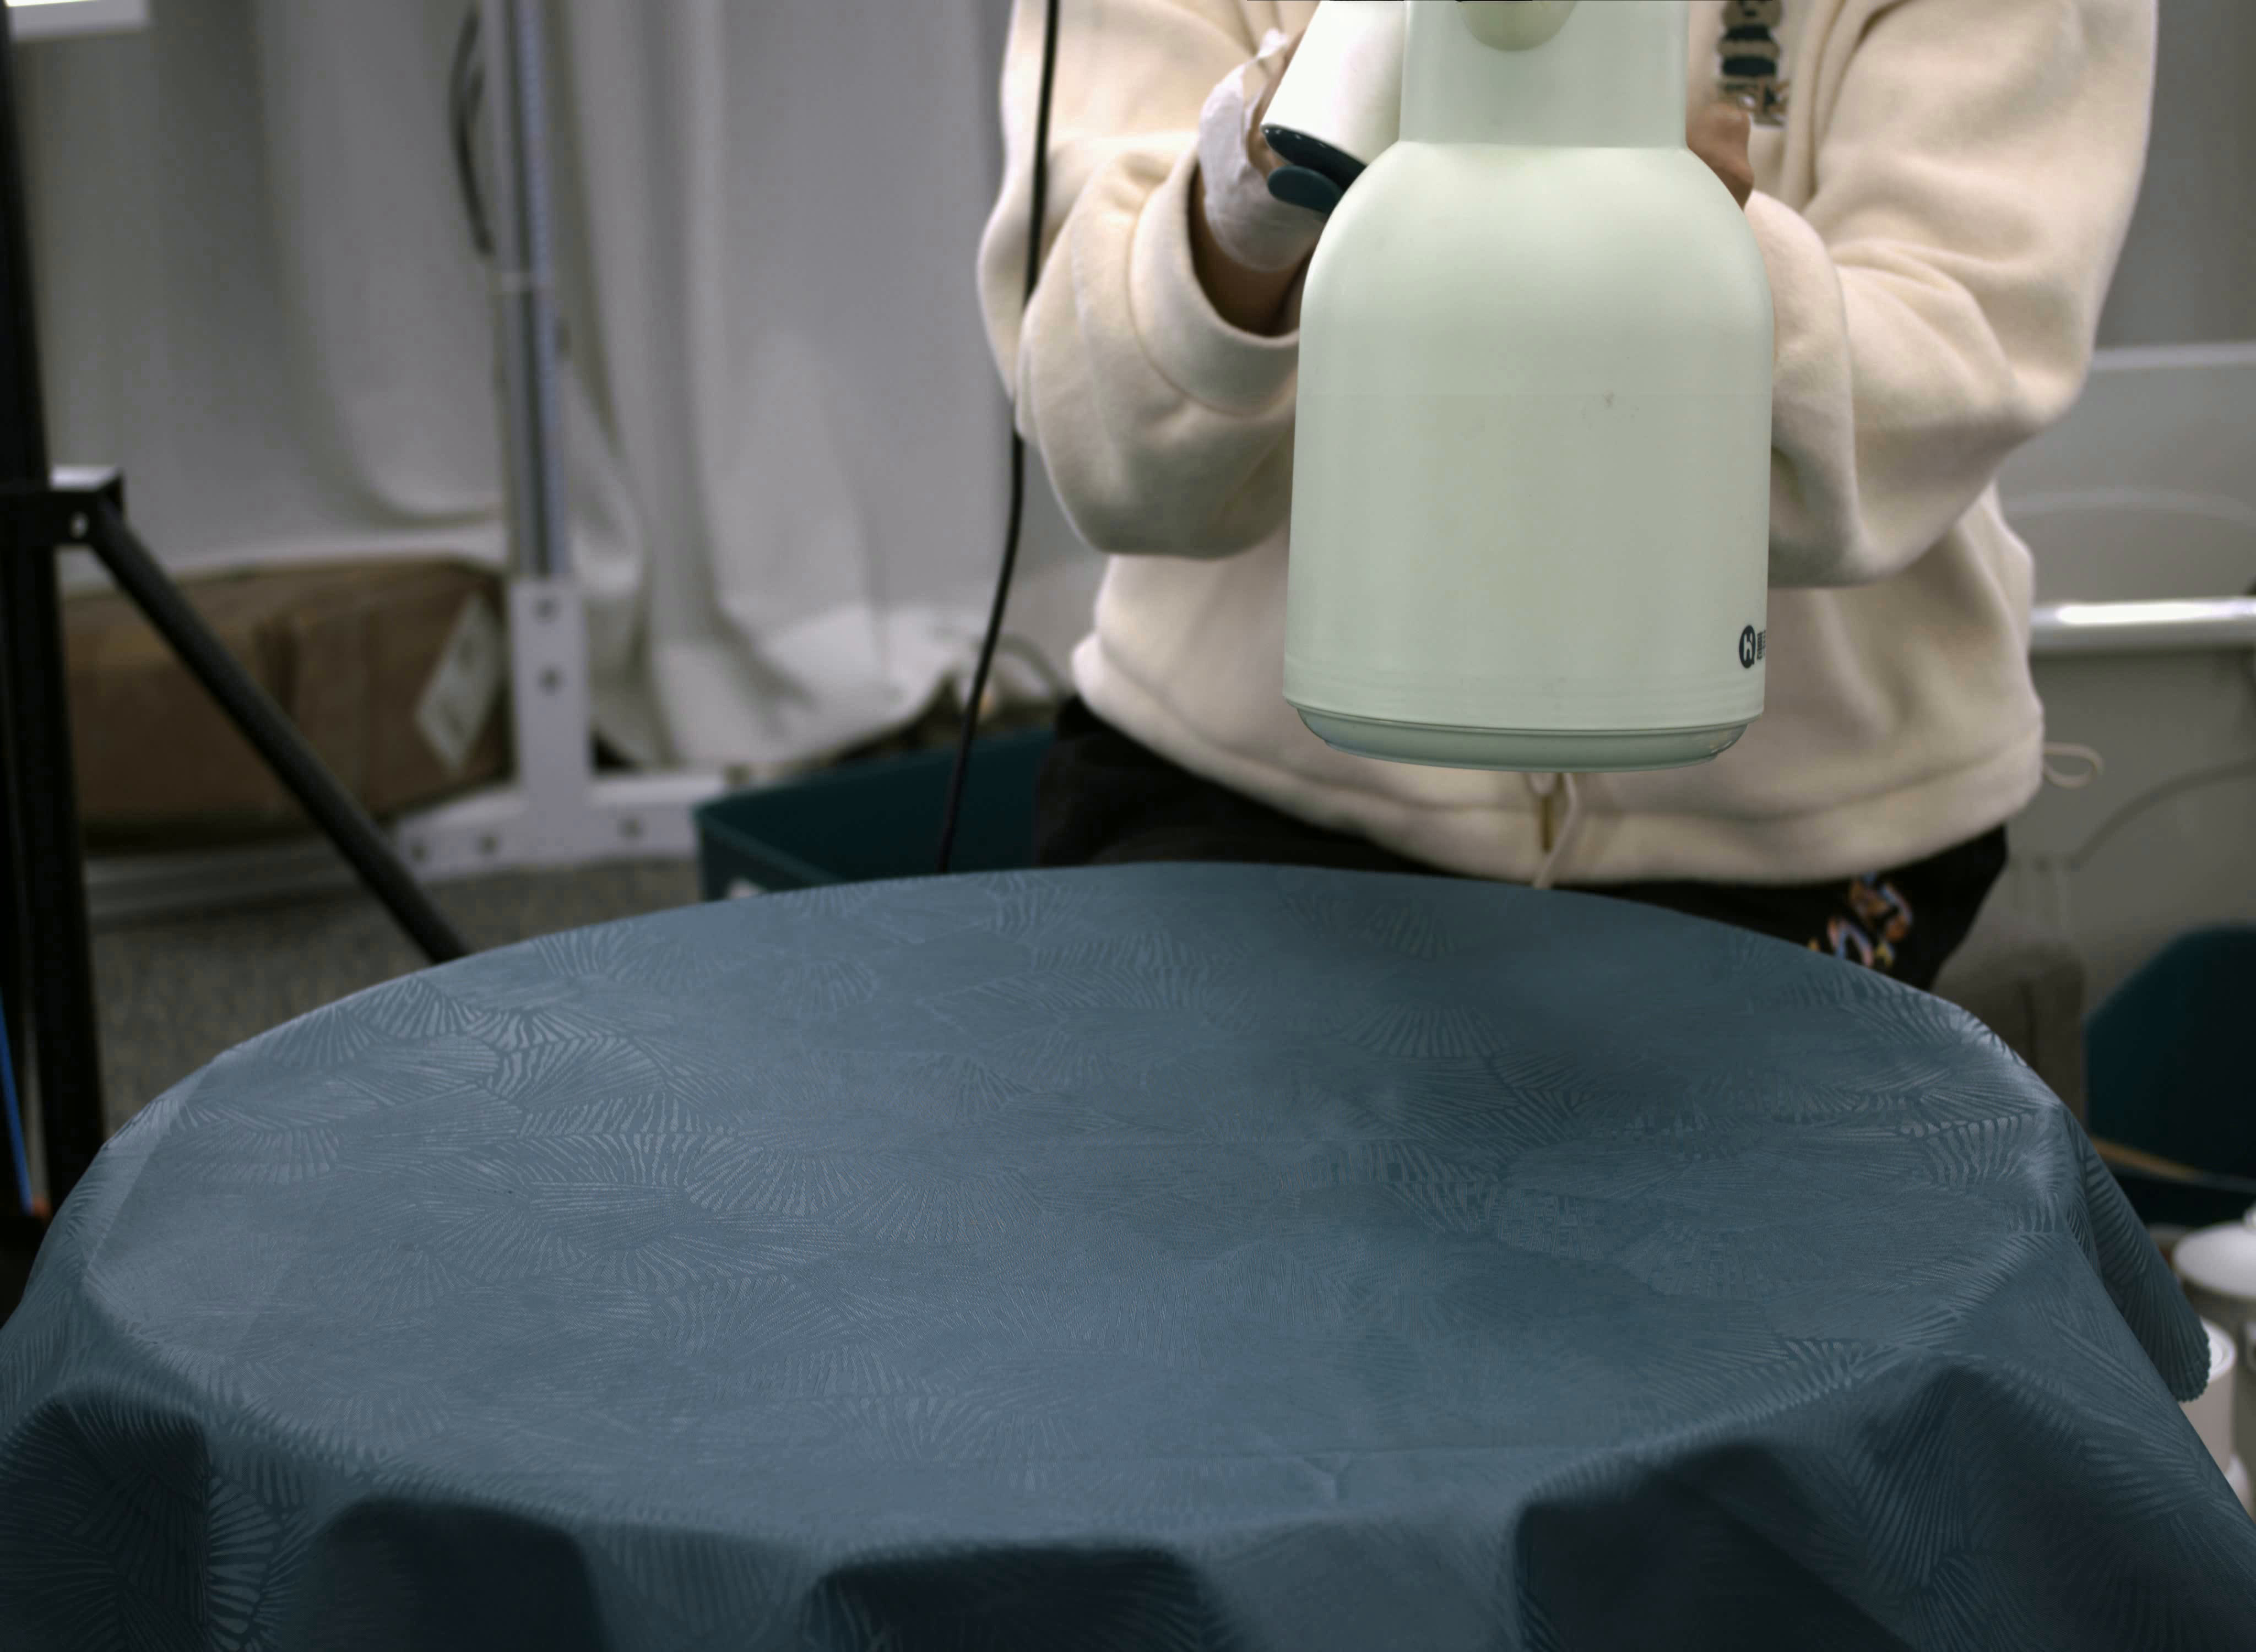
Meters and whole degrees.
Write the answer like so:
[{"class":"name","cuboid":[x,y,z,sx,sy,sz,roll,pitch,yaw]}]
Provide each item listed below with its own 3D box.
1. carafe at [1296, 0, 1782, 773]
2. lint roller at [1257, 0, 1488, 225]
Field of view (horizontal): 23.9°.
[{"class":"carafe","cuboid":[0.128,-0.148,1.591,0.146,0.258,0.184,2,3,20]},{"class":"lint roller","cuboid":[0.075,-0.245,1.696,0.048,0.134,0.181,27,-5,-5]}]
